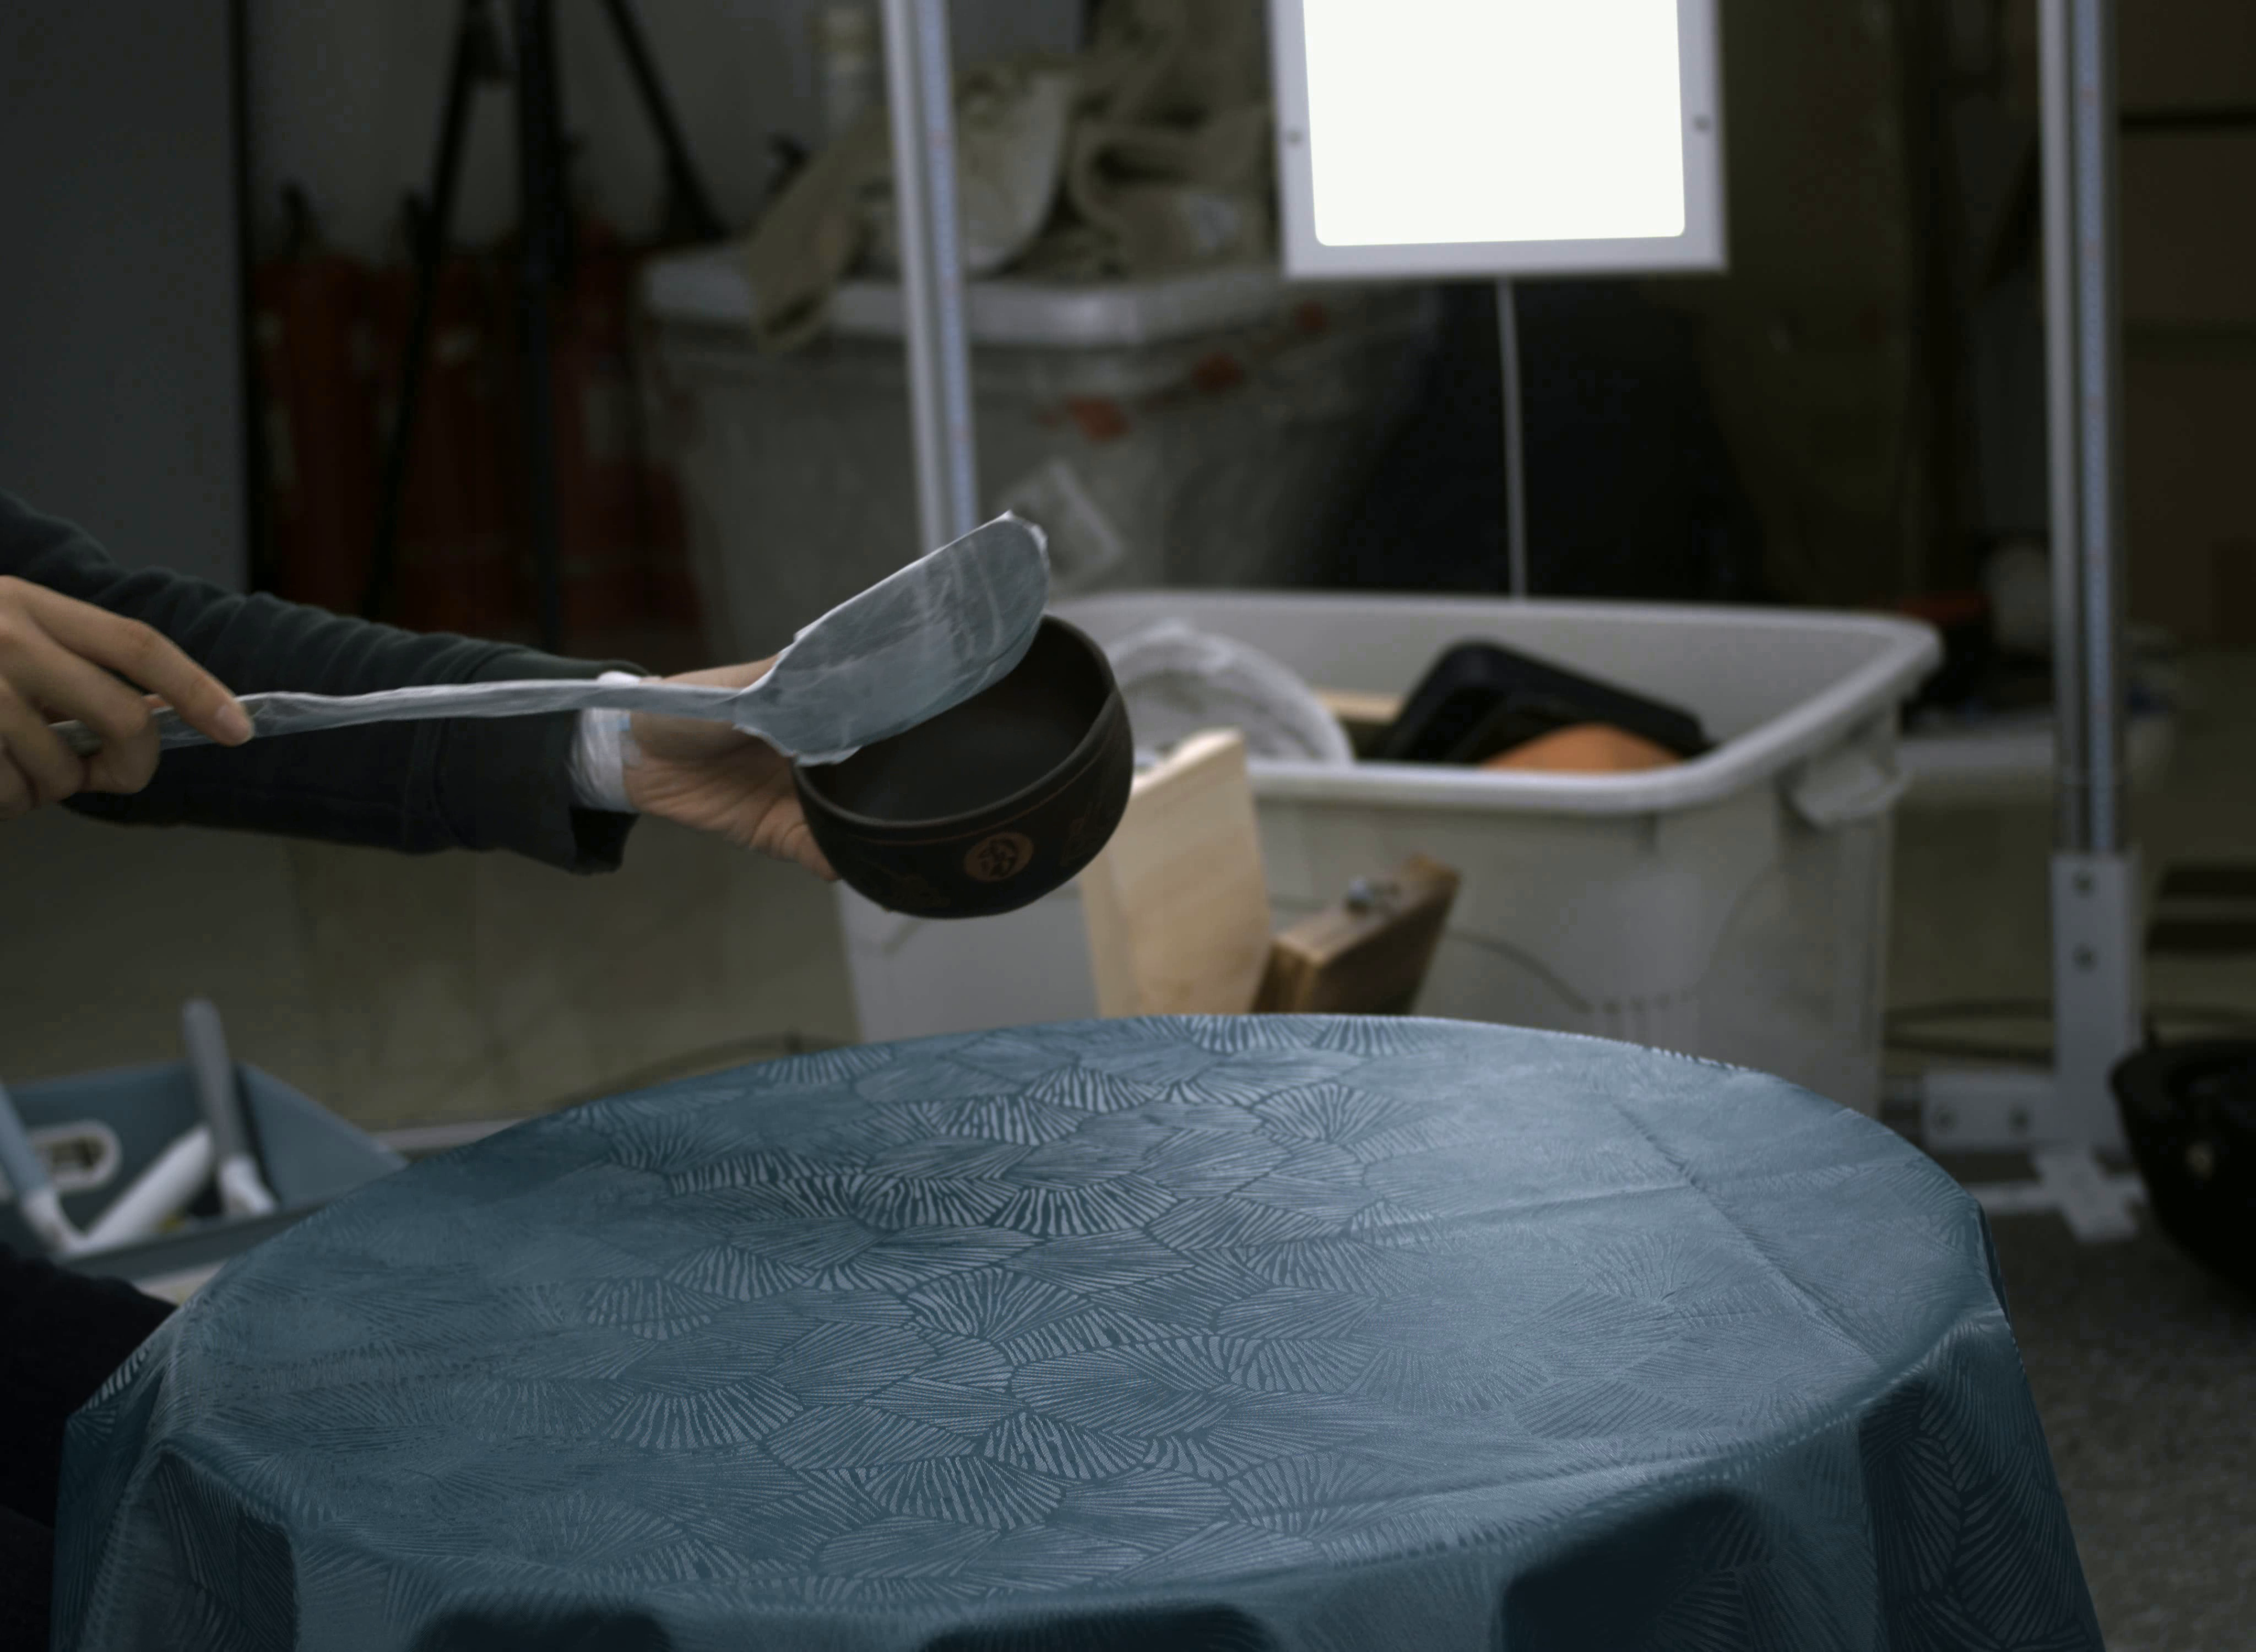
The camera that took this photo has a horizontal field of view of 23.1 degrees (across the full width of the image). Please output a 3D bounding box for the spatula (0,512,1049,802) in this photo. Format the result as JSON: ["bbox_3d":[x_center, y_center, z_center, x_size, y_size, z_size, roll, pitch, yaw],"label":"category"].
[{"bbox_3d":[-0.202,-0.040,1.724,0.362,0.045,0.099,-6,-29,-4],"label":"spatula"}]

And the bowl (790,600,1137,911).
[{"bbox_3d":[-0.052,-0.016,1.890,0.118,0.070,0.117,-12,38,8],"label":"bowl"}]
